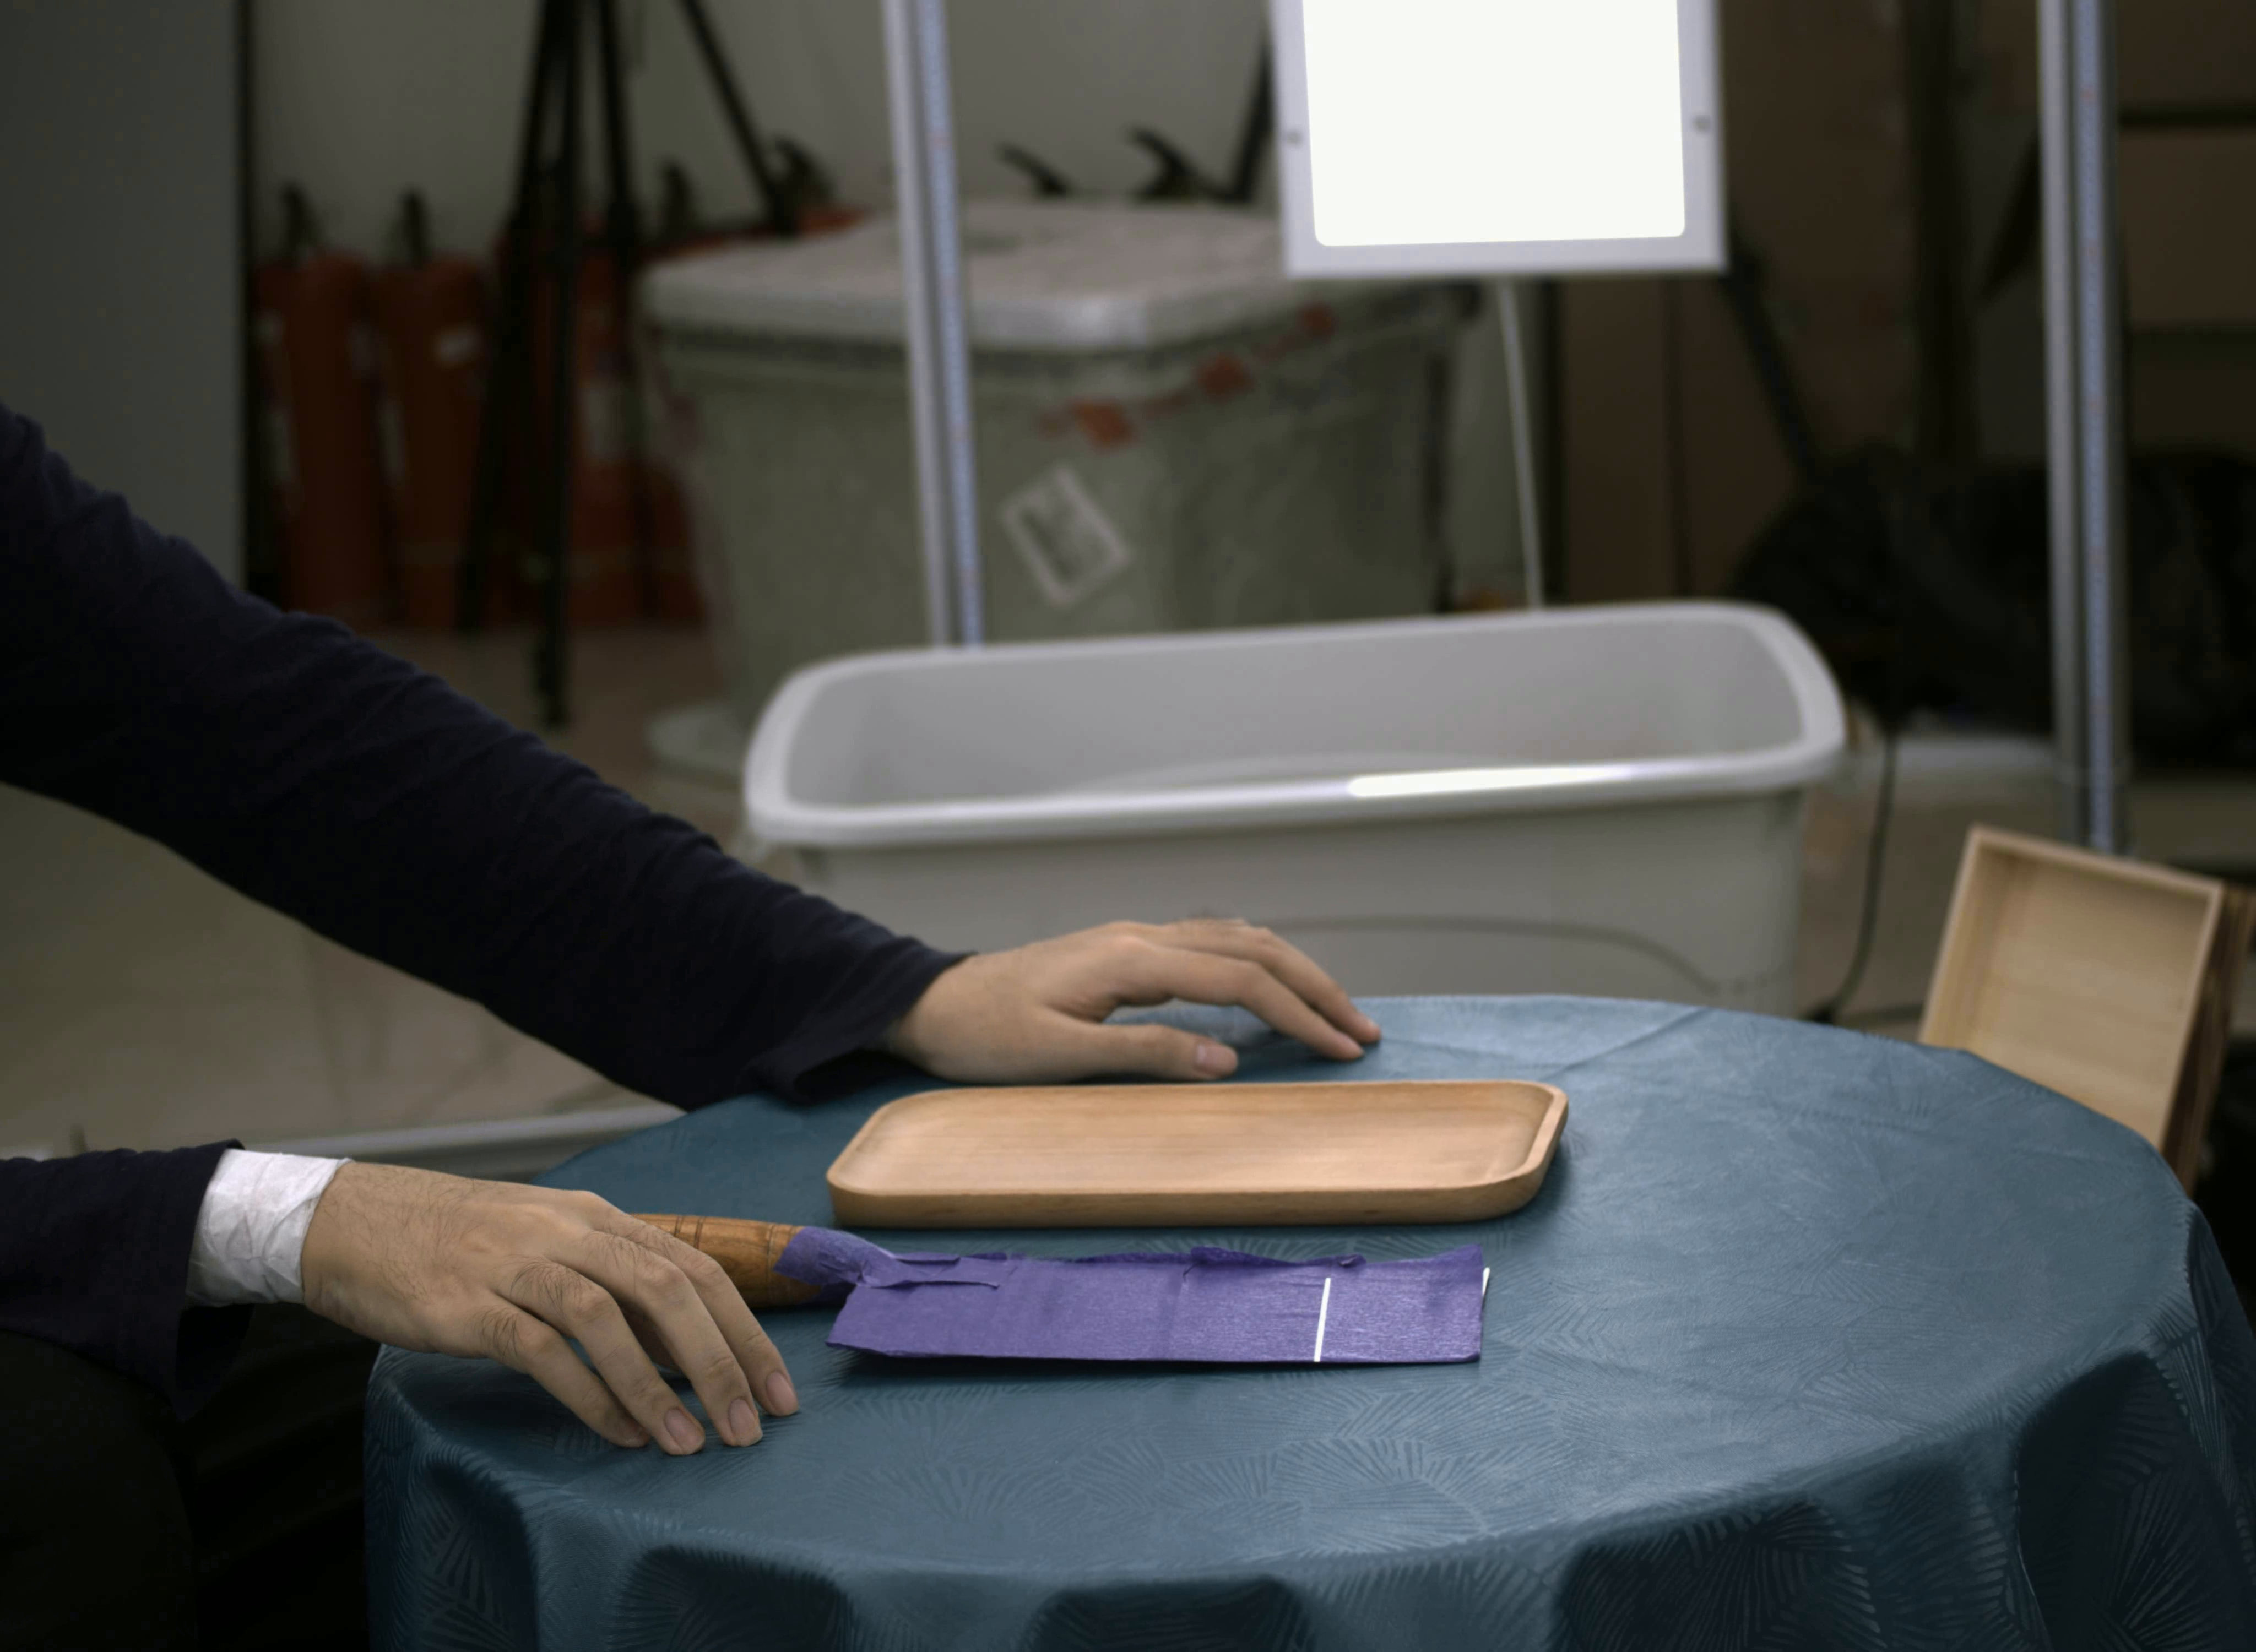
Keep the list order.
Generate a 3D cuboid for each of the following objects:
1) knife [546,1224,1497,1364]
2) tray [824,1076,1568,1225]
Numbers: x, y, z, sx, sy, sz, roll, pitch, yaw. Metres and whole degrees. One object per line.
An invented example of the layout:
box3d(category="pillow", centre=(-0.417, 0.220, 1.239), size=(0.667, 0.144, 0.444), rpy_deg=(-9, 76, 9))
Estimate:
box3d(category="knife", centre=(-0.039, 0.149, 1.768), size=(0.317, 0.032, 0.103), rpy_deg=(-2, 14, 10))
box3d(category="tray", centre=(0.025, 0.113, 1.915), size=(0.253, 0.023, 0.128), rpy_deg=(-2, 12, 17))
